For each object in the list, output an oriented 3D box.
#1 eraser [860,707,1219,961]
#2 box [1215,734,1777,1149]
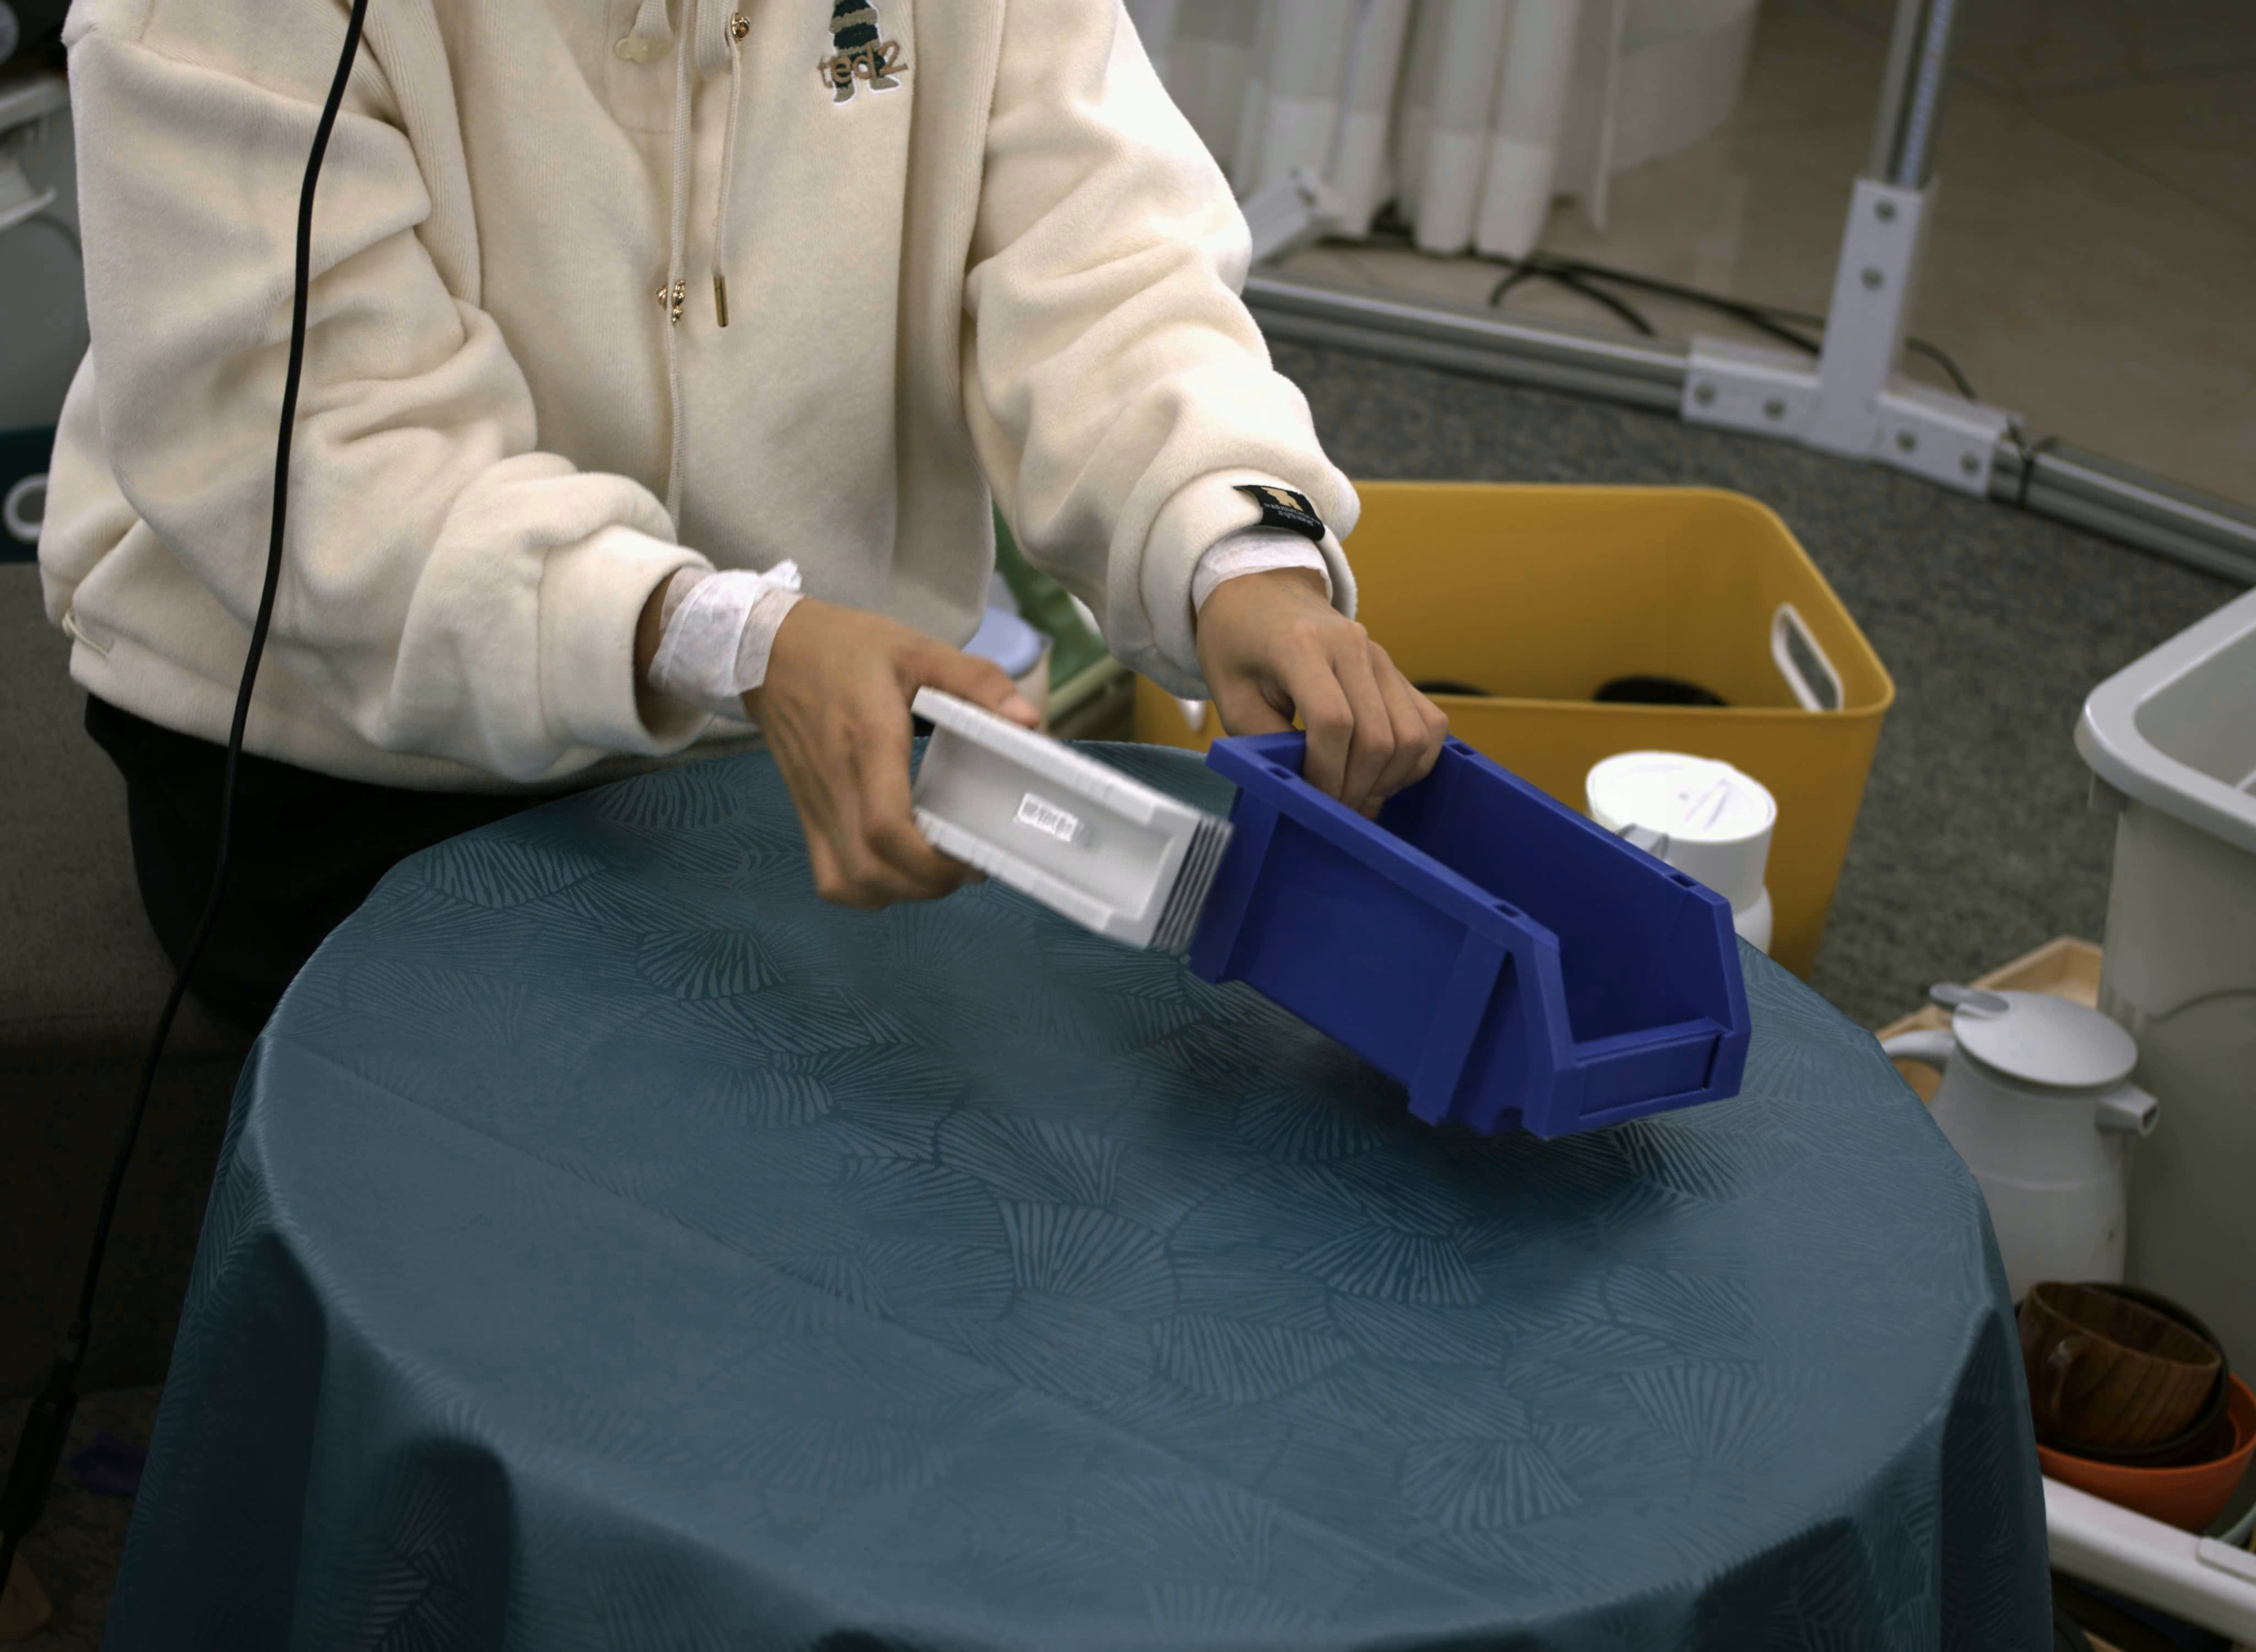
[{"bbox_3d":[-0.031,0.003,1.838,0.046,0.050,0.135,19,2,-44],"label":"eraser"},{"bbox_3d":[0.128,0.045,1.853,0.181,0.082,0.123,31,24,35],"label":"box"}]
